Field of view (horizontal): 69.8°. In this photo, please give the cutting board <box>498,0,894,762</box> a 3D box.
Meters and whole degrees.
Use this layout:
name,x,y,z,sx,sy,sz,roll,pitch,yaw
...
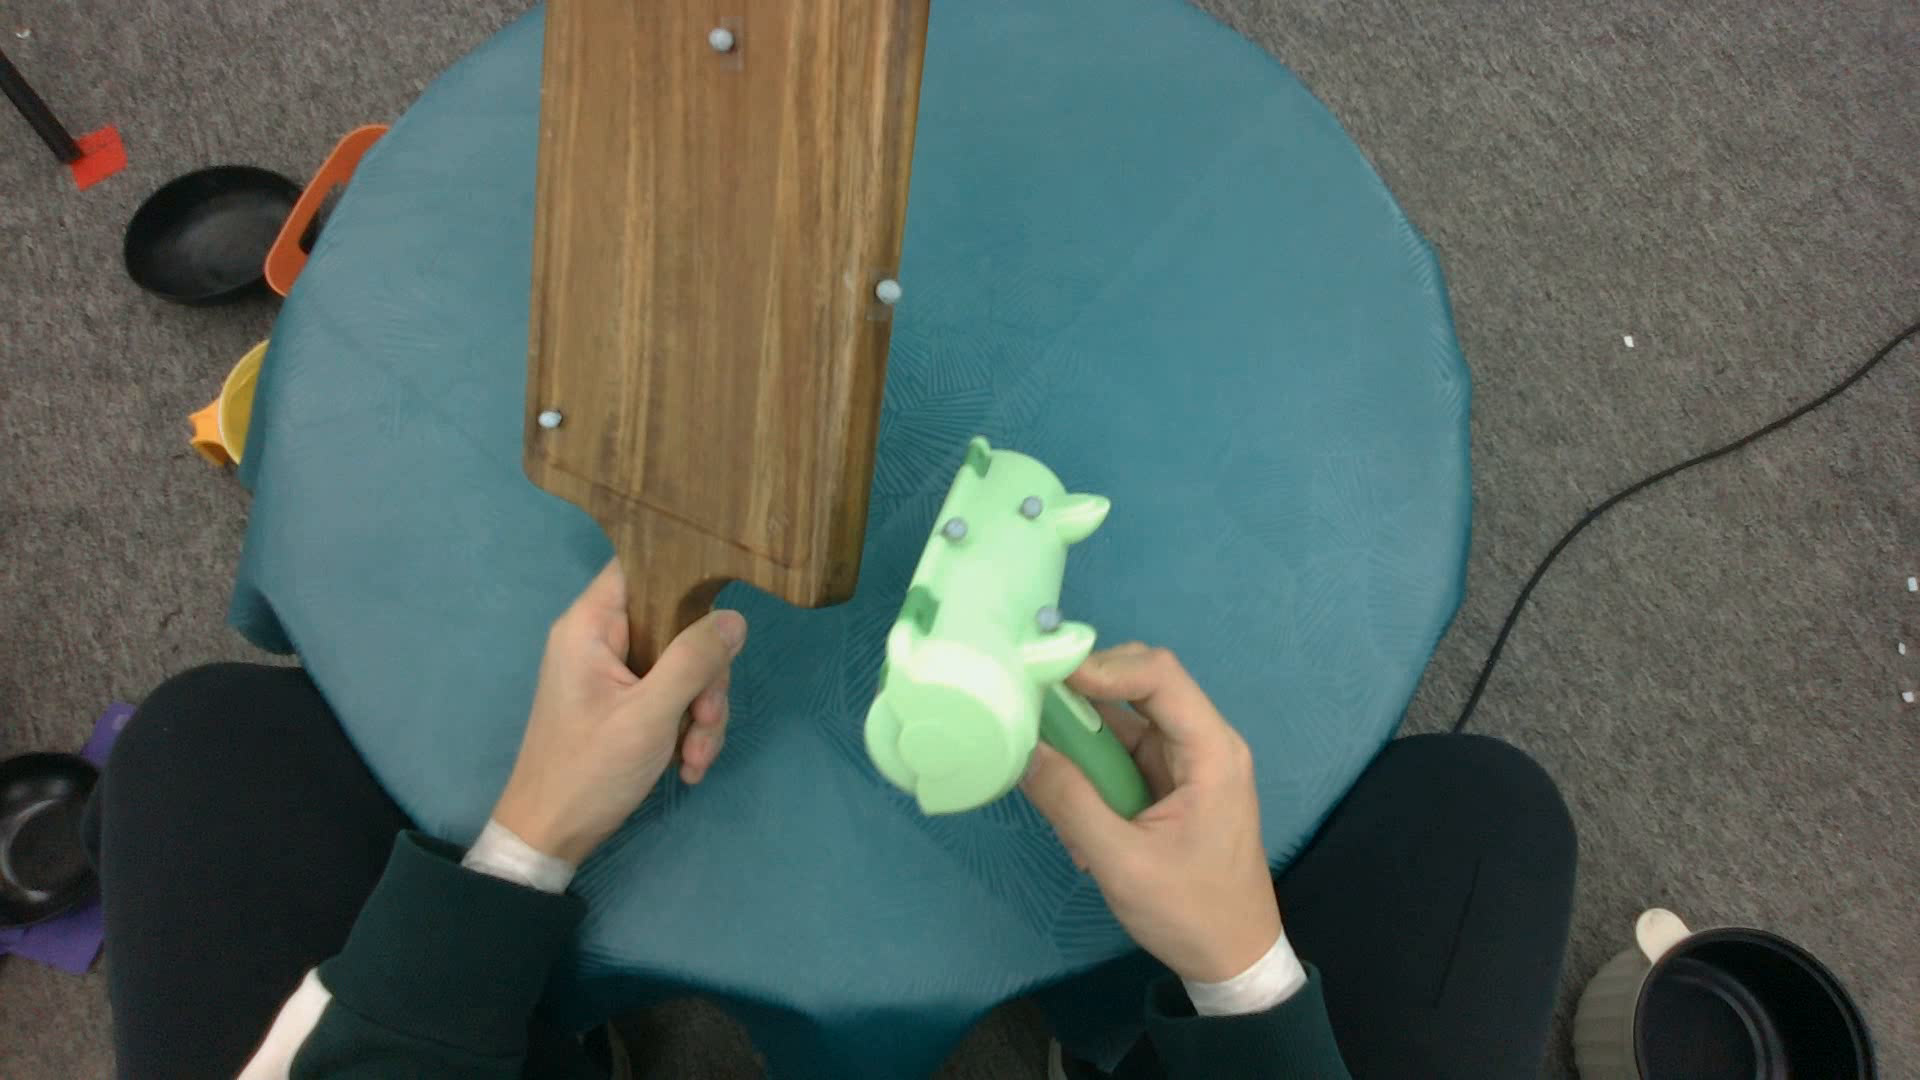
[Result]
name,x,y,z,sx,sy,sz,roll,pitch,yaw
cutting board,-0.116,-0.078,0.536,0.201,0.023,0.351,18,109,36

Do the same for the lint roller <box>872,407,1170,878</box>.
name,x,y,z,sx,sy,sz,roll,pitch,yaw
lint roller,0.046,0.049,0.519,0.082,0.199,0.183,-36,106,18
